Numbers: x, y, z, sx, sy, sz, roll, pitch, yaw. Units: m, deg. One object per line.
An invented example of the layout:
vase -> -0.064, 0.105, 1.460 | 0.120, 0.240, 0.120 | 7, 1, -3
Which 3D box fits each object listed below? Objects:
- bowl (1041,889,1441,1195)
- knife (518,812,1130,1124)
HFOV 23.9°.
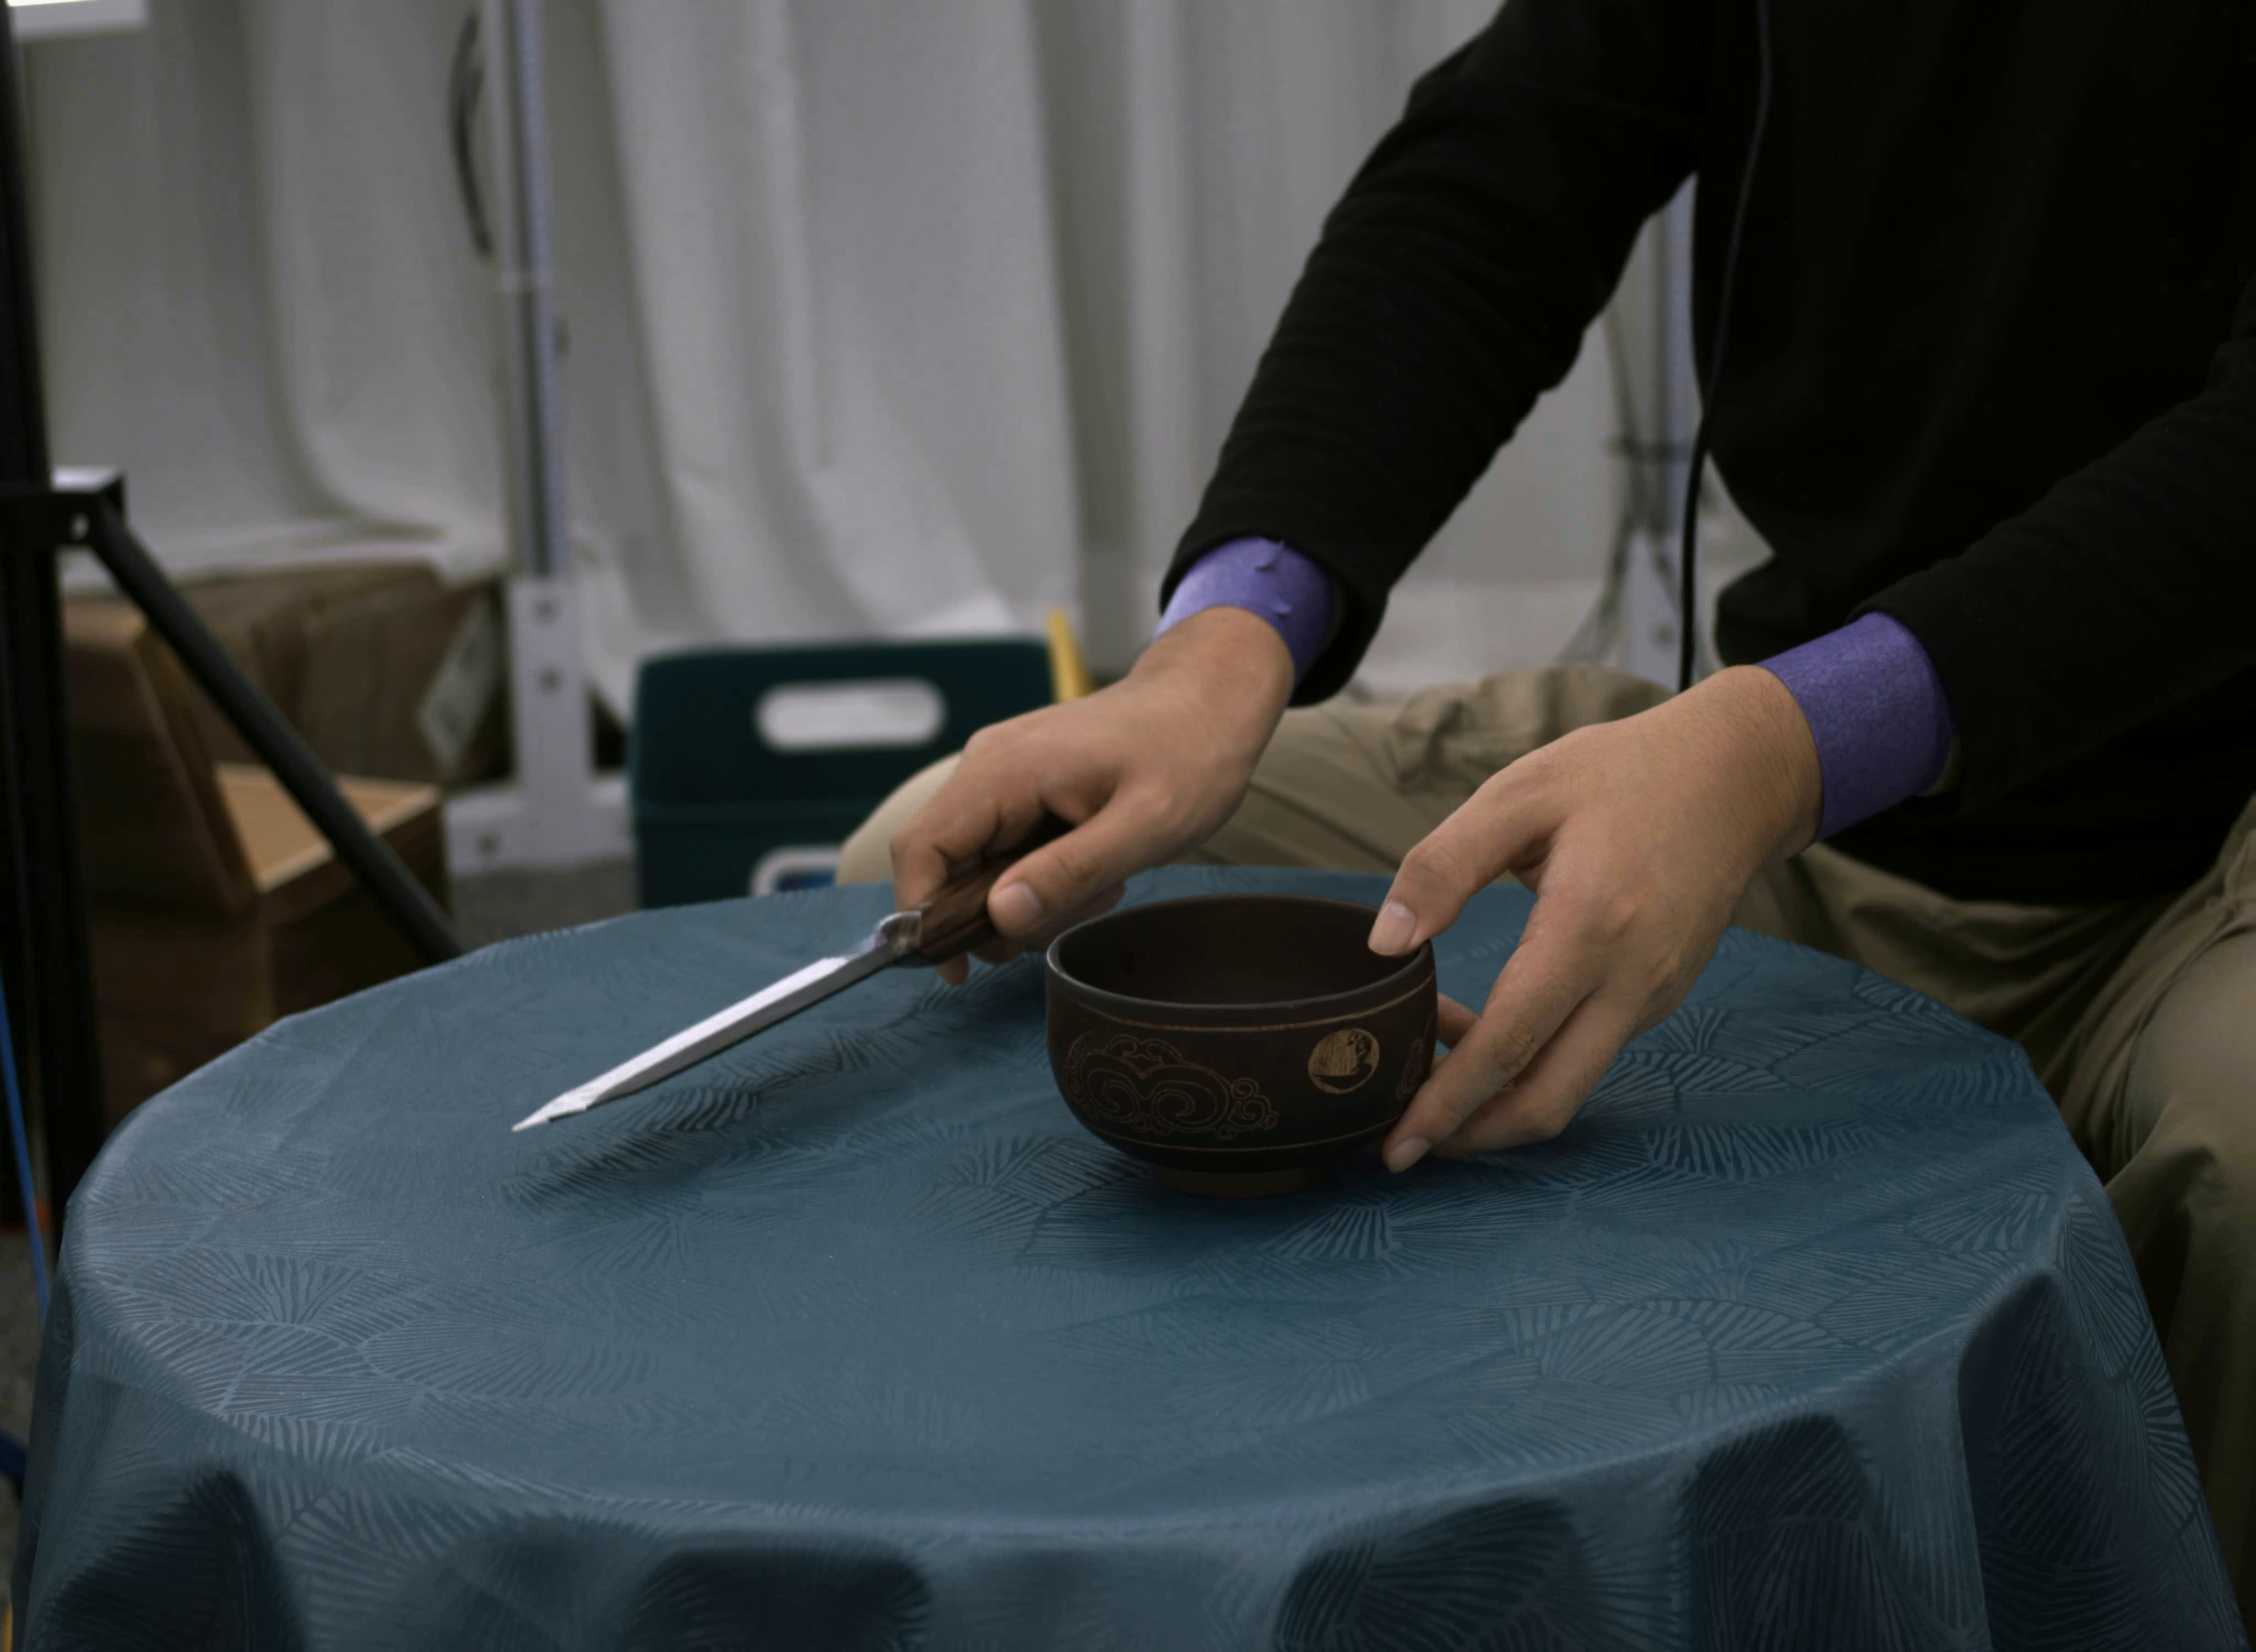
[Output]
bowl -> 0.034, 0.067, 1.562 | 0.117, 0.070, 0.118 | -2, 15, -1
knife -> -0.091, 0.046, 1.675 | 0.051, 0.020, 0.283 | -12, 10, 42
